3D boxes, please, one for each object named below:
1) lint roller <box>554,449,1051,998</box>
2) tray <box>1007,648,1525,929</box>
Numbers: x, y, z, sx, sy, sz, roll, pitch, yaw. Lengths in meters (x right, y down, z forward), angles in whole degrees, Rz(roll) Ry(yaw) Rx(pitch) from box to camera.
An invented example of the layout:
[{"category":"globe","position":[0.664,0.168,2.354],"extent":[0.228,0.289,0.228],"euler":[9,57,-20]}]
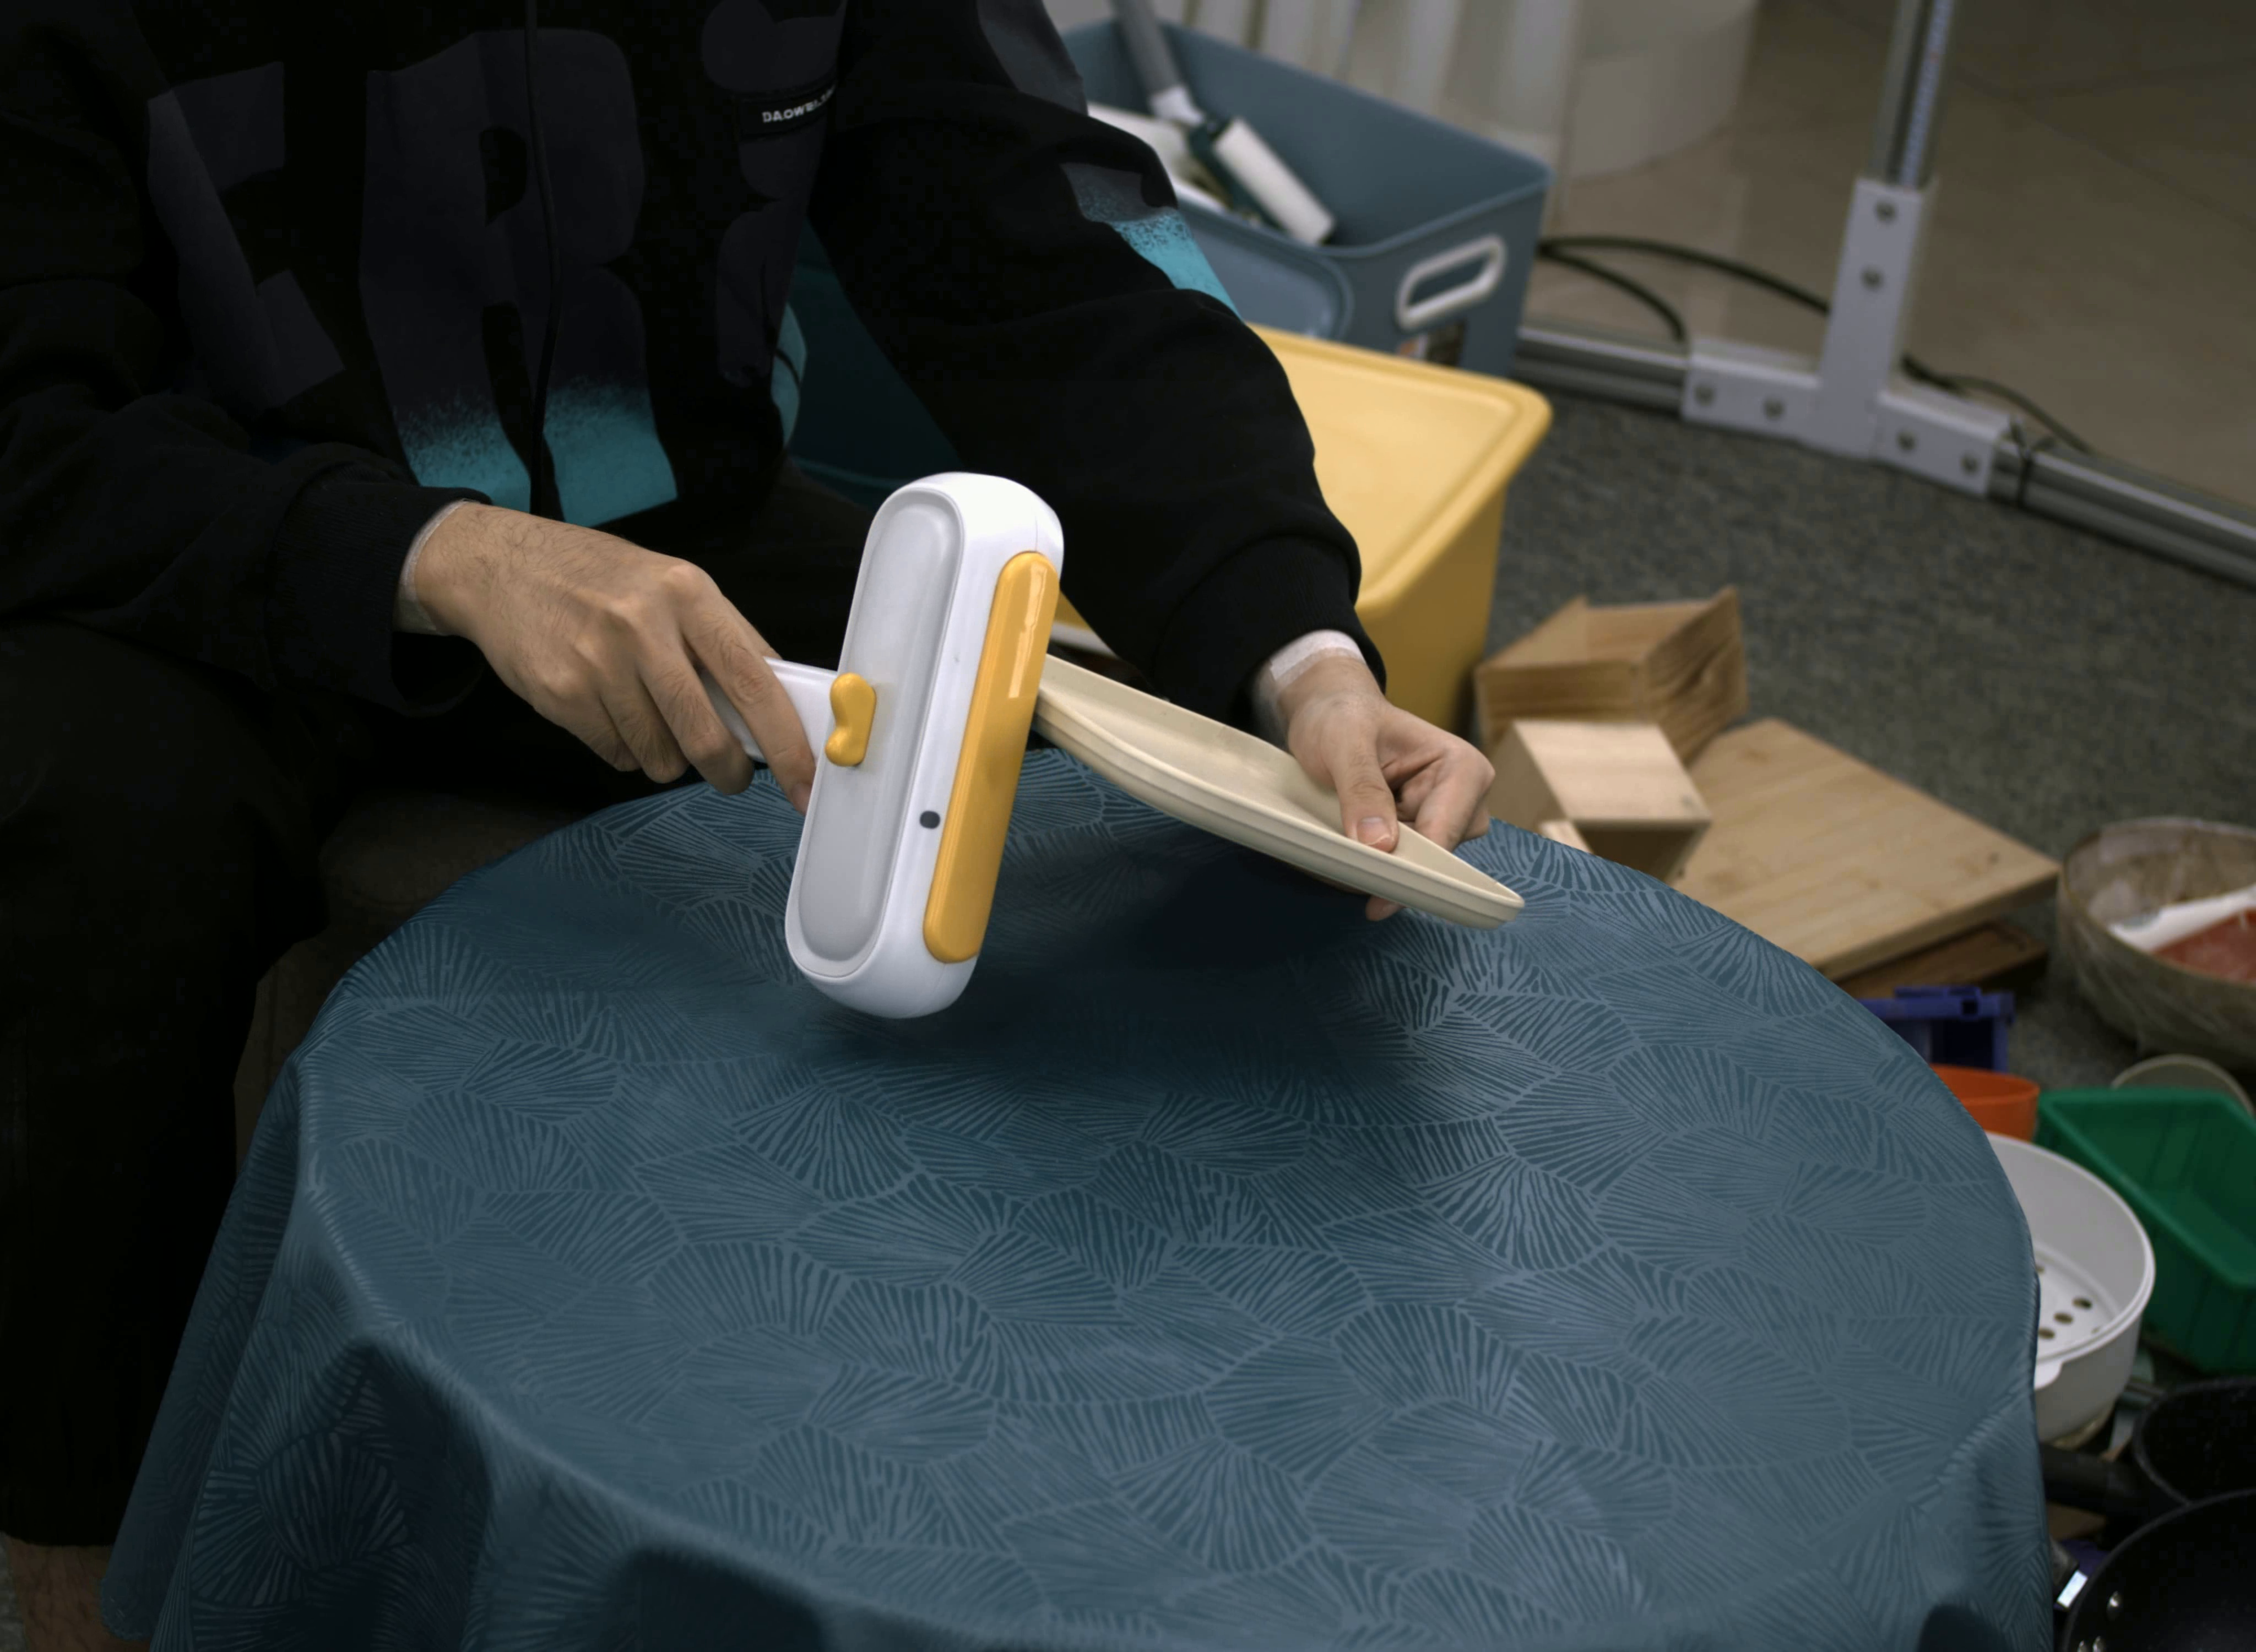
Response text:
[{"category":"lint roller","position":[-0.119,-0.040,1.892],"extent":[0.193,0.193,0.073],"euler":[4,-2,40]},{"category":"tray","position":[0.030,-0.019,1.911],"extent":[0.170,0.017,0.241],"euler":[21,6,-26]}]
